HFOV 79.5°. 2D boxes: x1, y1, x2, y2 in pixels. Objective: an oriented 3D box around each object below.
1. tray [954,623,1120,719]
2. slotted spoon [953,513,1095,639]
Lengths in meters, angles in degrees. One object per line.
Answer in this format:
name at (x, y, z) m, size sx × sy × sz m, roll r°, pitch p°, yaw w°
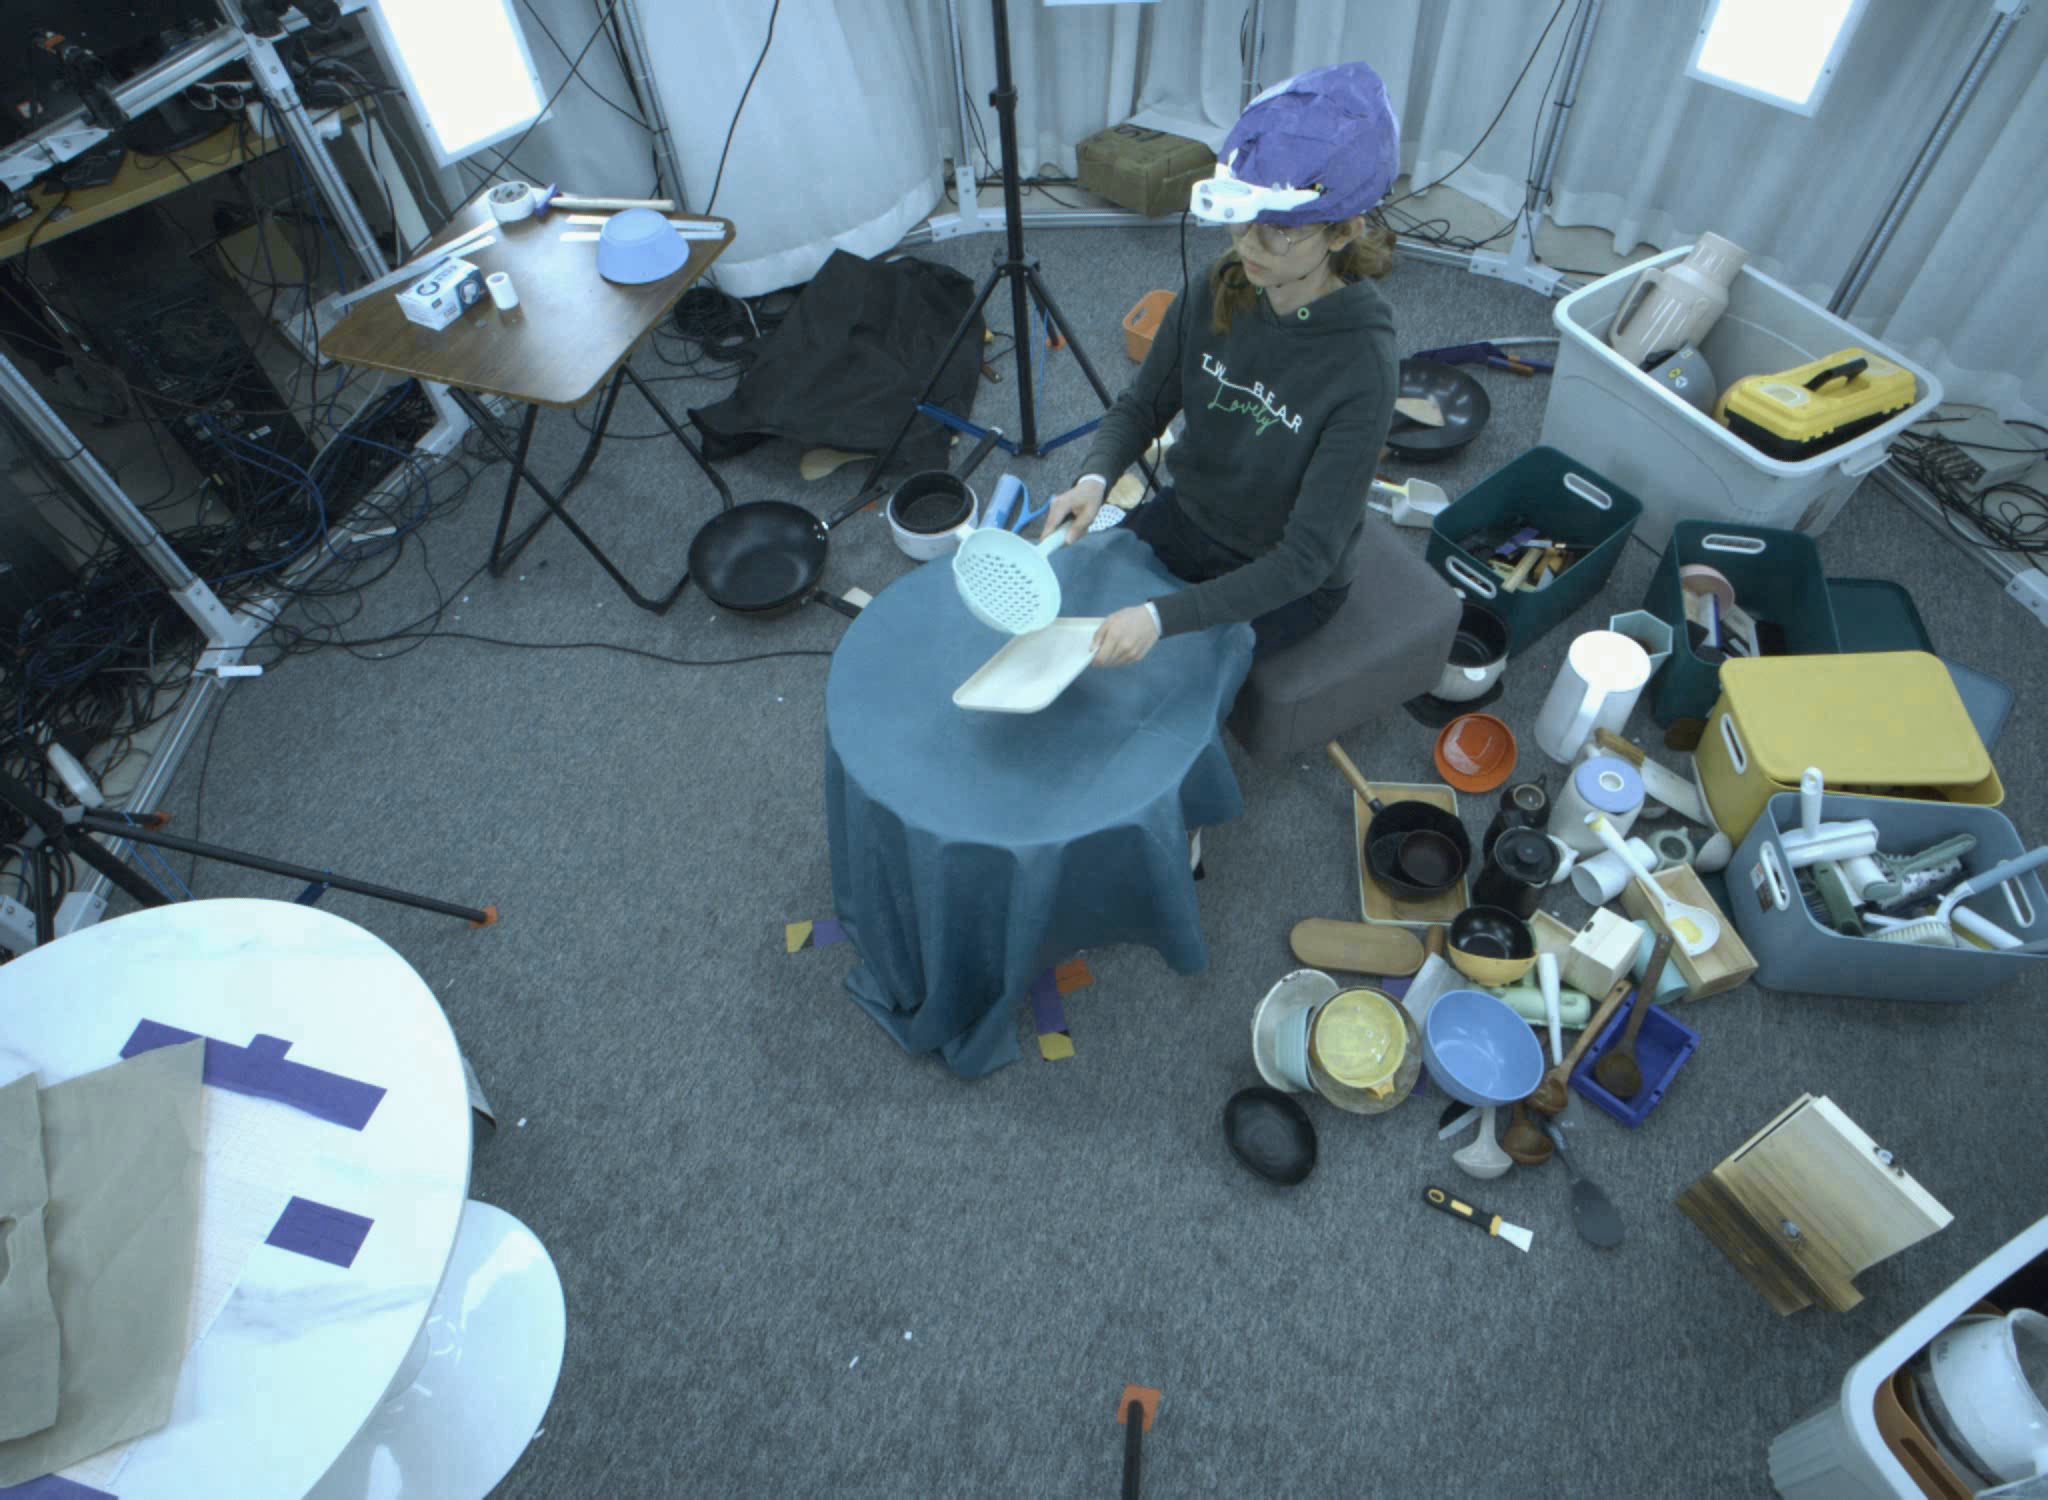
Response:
tray at (0.021, -0.114, 1.760) m, size 0.167 × 0.018 × 0.241 m, roll 6°, pitch 38°, yaw 37°
slotted spoon at (0.022, -0.279, 1.799) m, size 0.170 × 0.074 × 0.361 m, roll 48°, pitch 52°, yaw -6°
